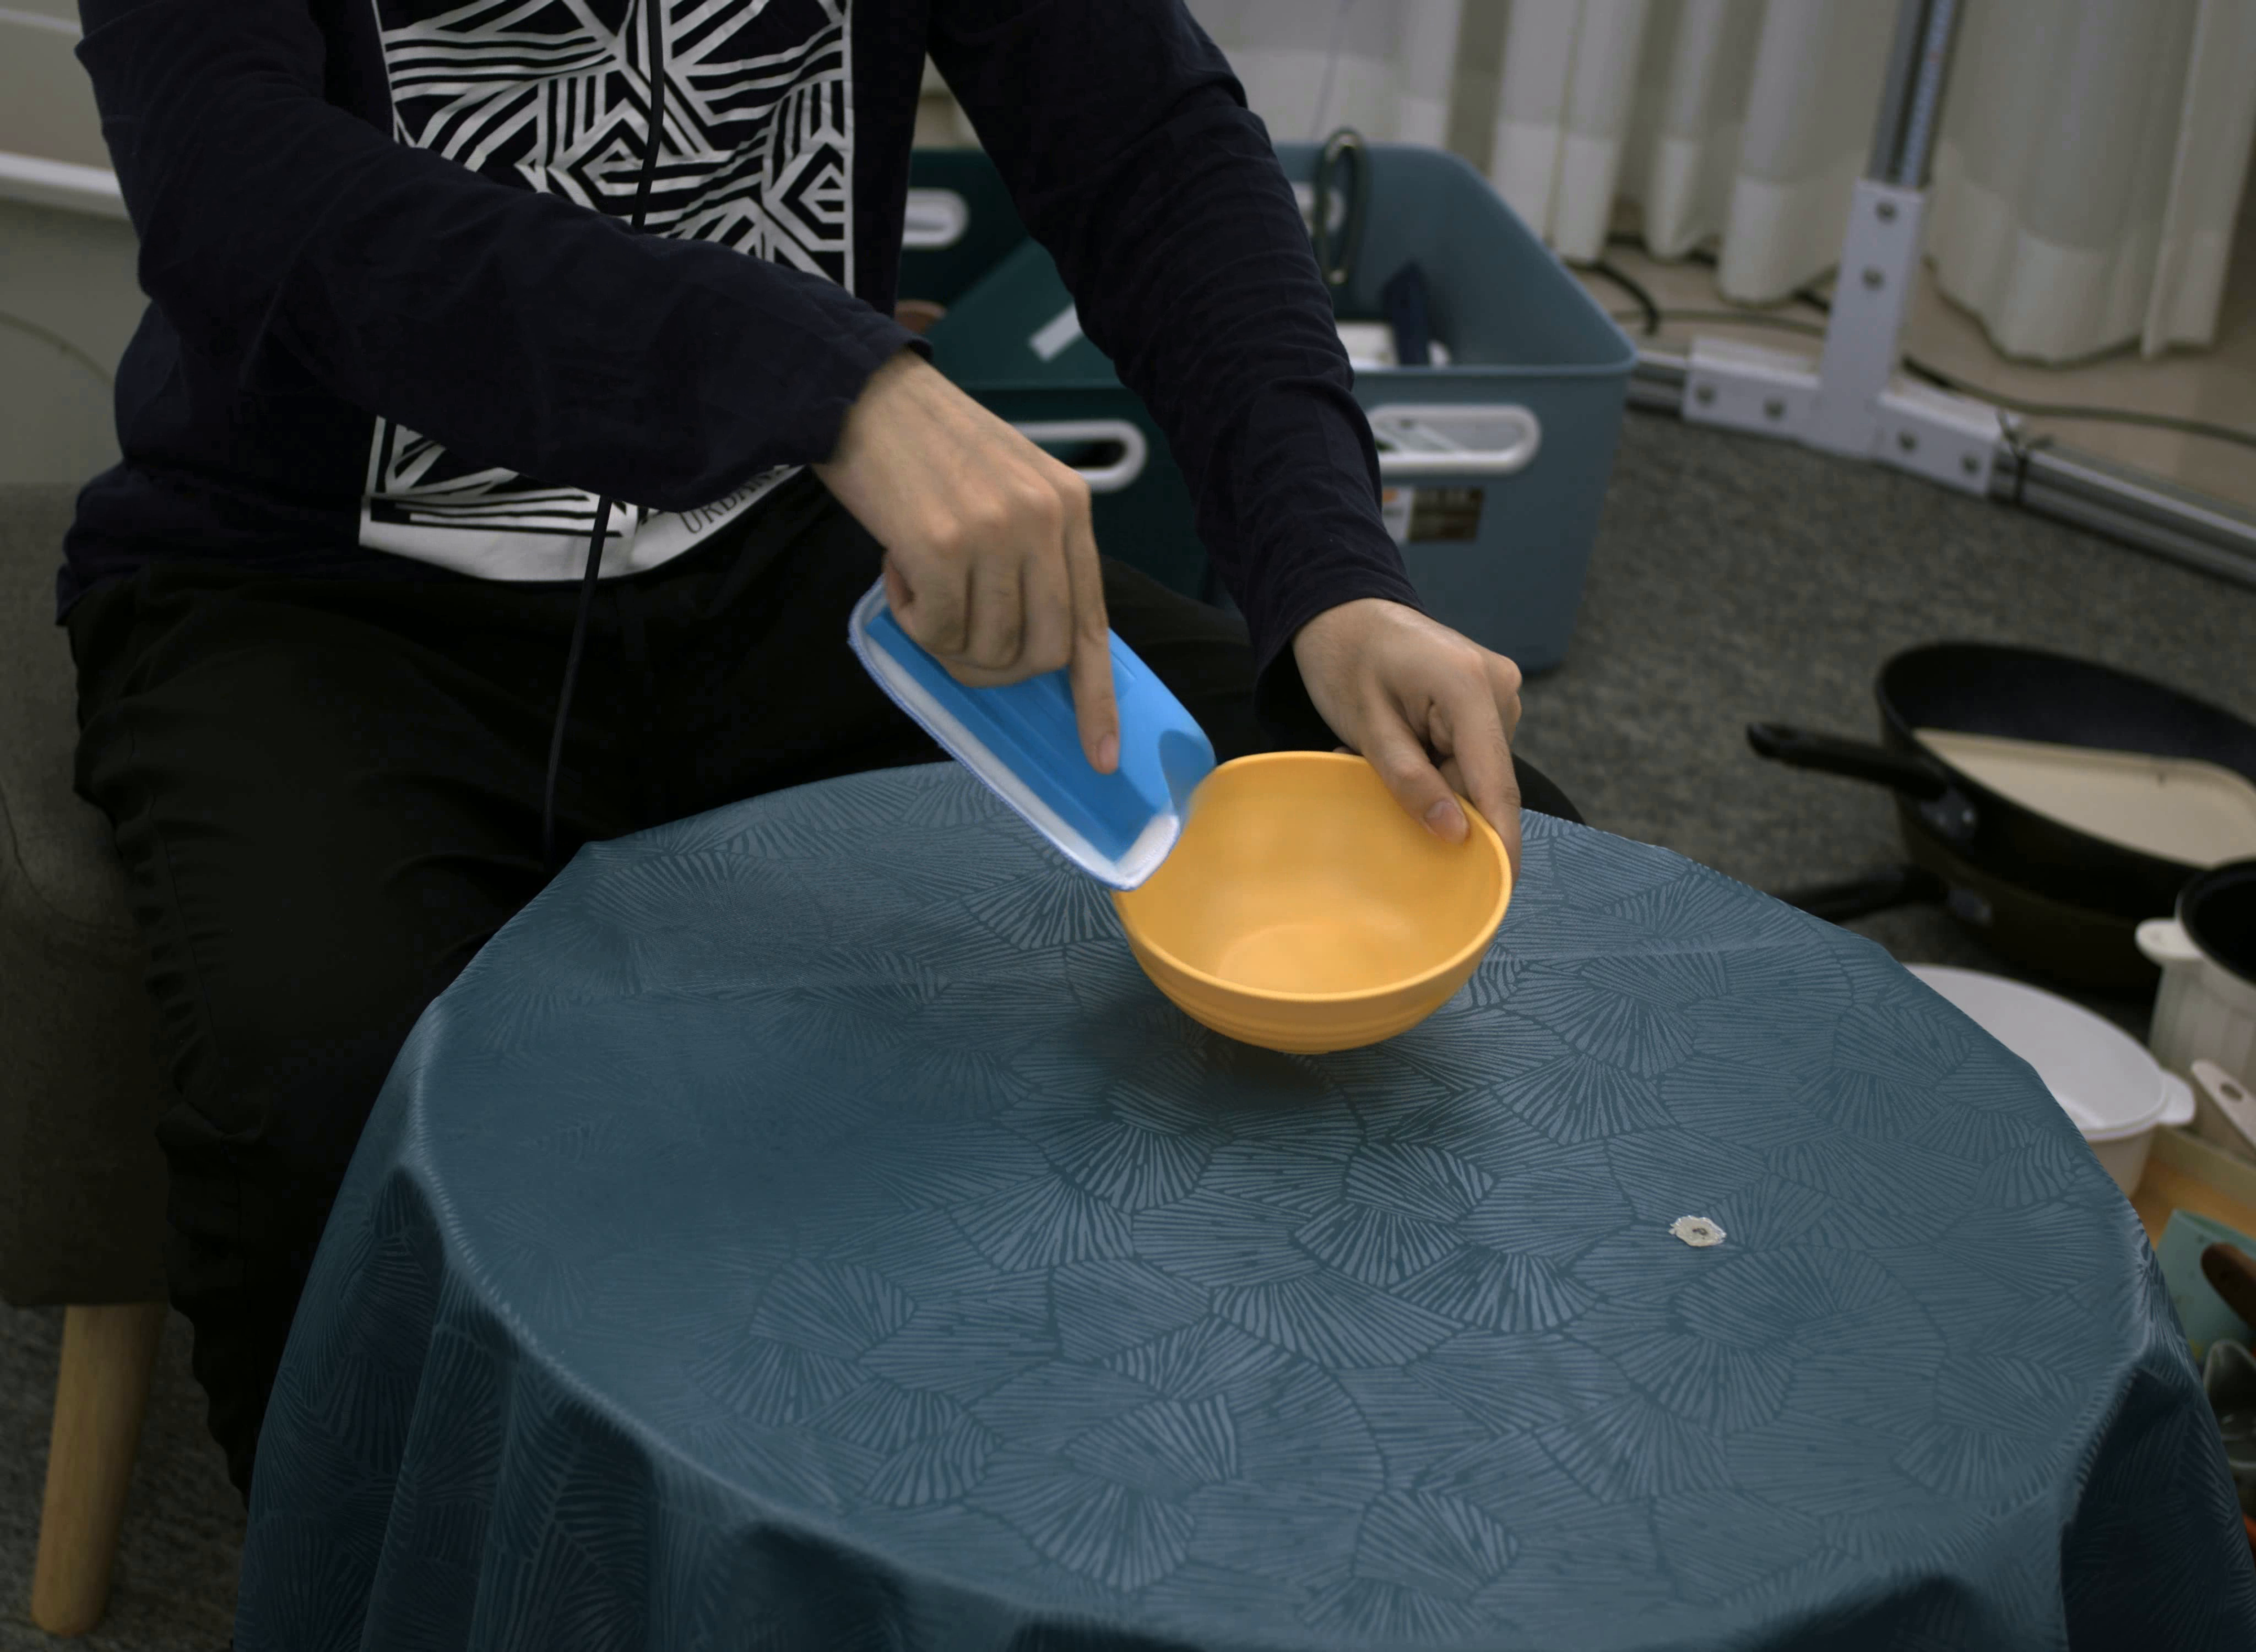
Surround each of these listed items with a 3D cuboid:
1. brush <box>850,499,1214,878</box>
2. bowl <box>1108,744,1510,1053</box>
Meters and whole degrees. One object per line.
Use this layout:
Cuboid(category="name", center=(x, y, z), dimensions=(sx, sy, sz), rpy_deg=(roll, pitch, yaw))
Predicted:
Cuboid(category="brush", center=(-0.027, -0.054, 1.851), dimensions=(0.144, 0.056, 0.084), rpy_deg=(47, 42, -6))
Cuboid(category="bowl", center=(0.064, 0.038, 1.912), dimensions=(0.145, 0.060, 0.146), rpy_deg=(0, 38, 0))
